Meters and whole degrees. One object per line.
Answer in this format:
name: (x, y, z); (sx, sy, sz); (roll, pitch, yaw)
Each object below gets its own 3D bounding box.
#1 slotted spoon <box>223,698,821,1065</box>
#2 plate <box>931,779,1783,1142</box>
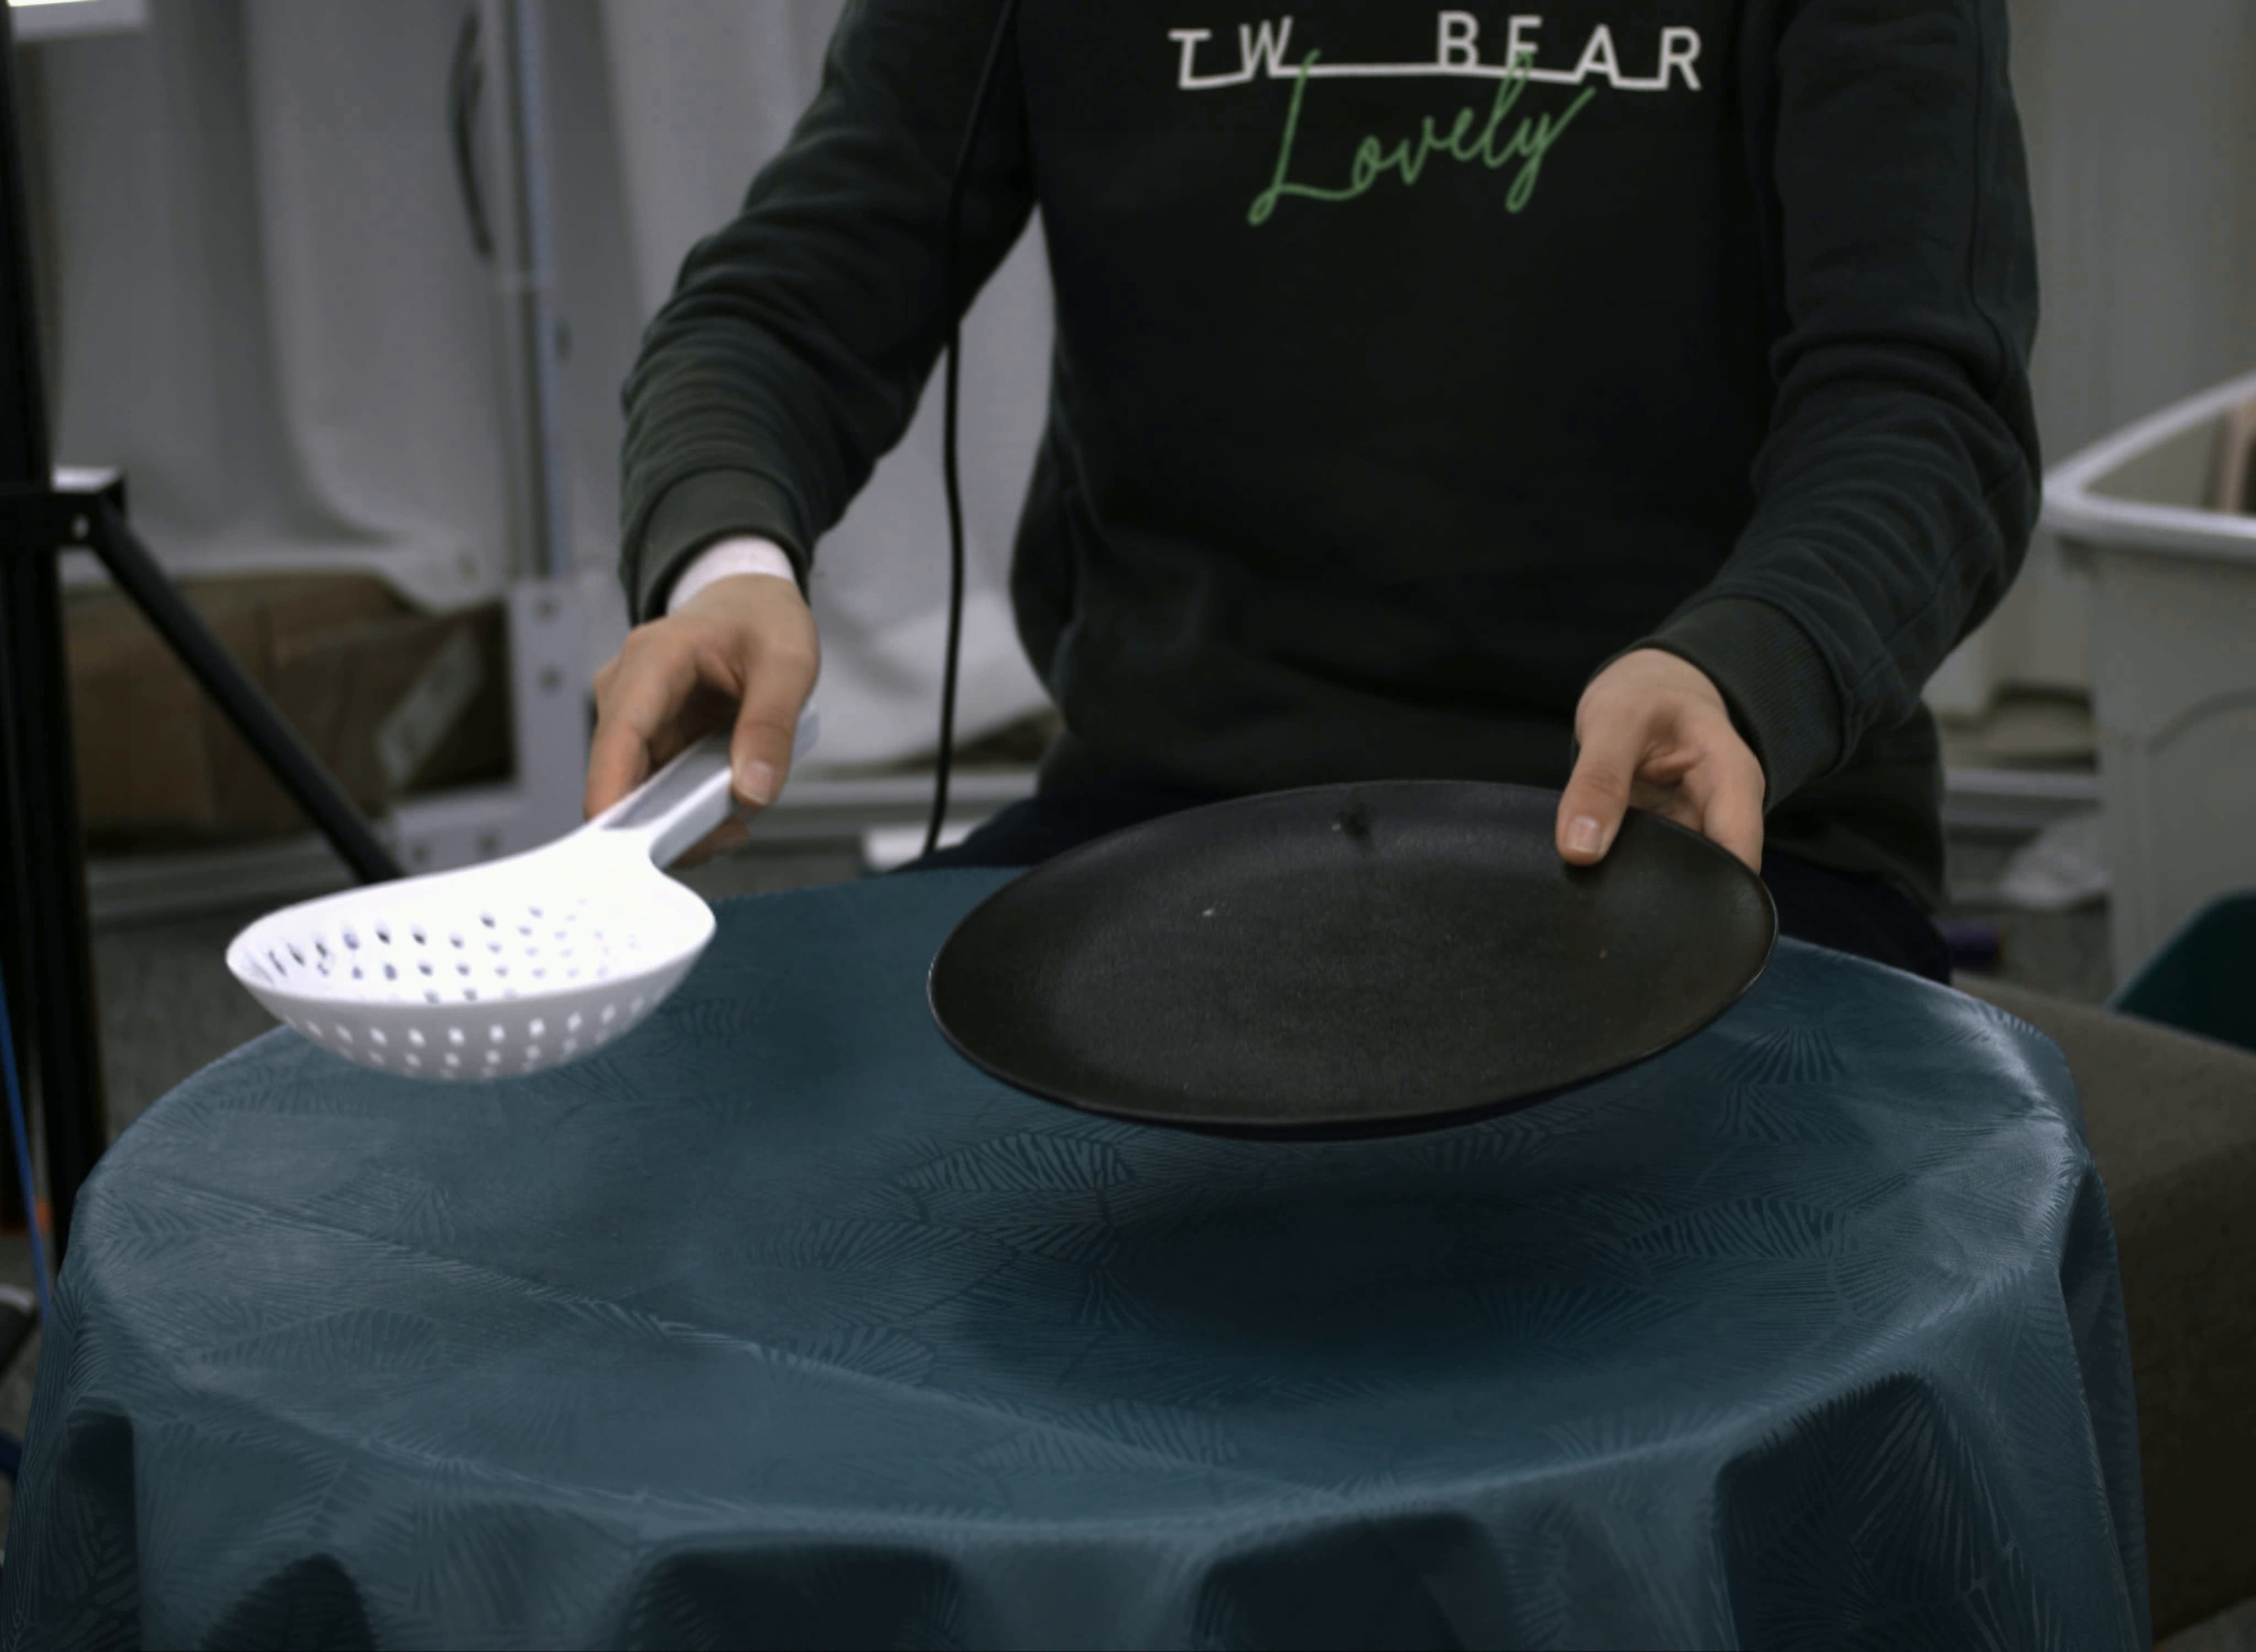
slotted spoon: (-0.158, 0.007, 1.595); (0.137, 0.045, 0.347); (1, 19, 15)
plate: (0.065, 0.041, 1.514); (0.243, 0.023, 0.246); (-6, 22, 1)
